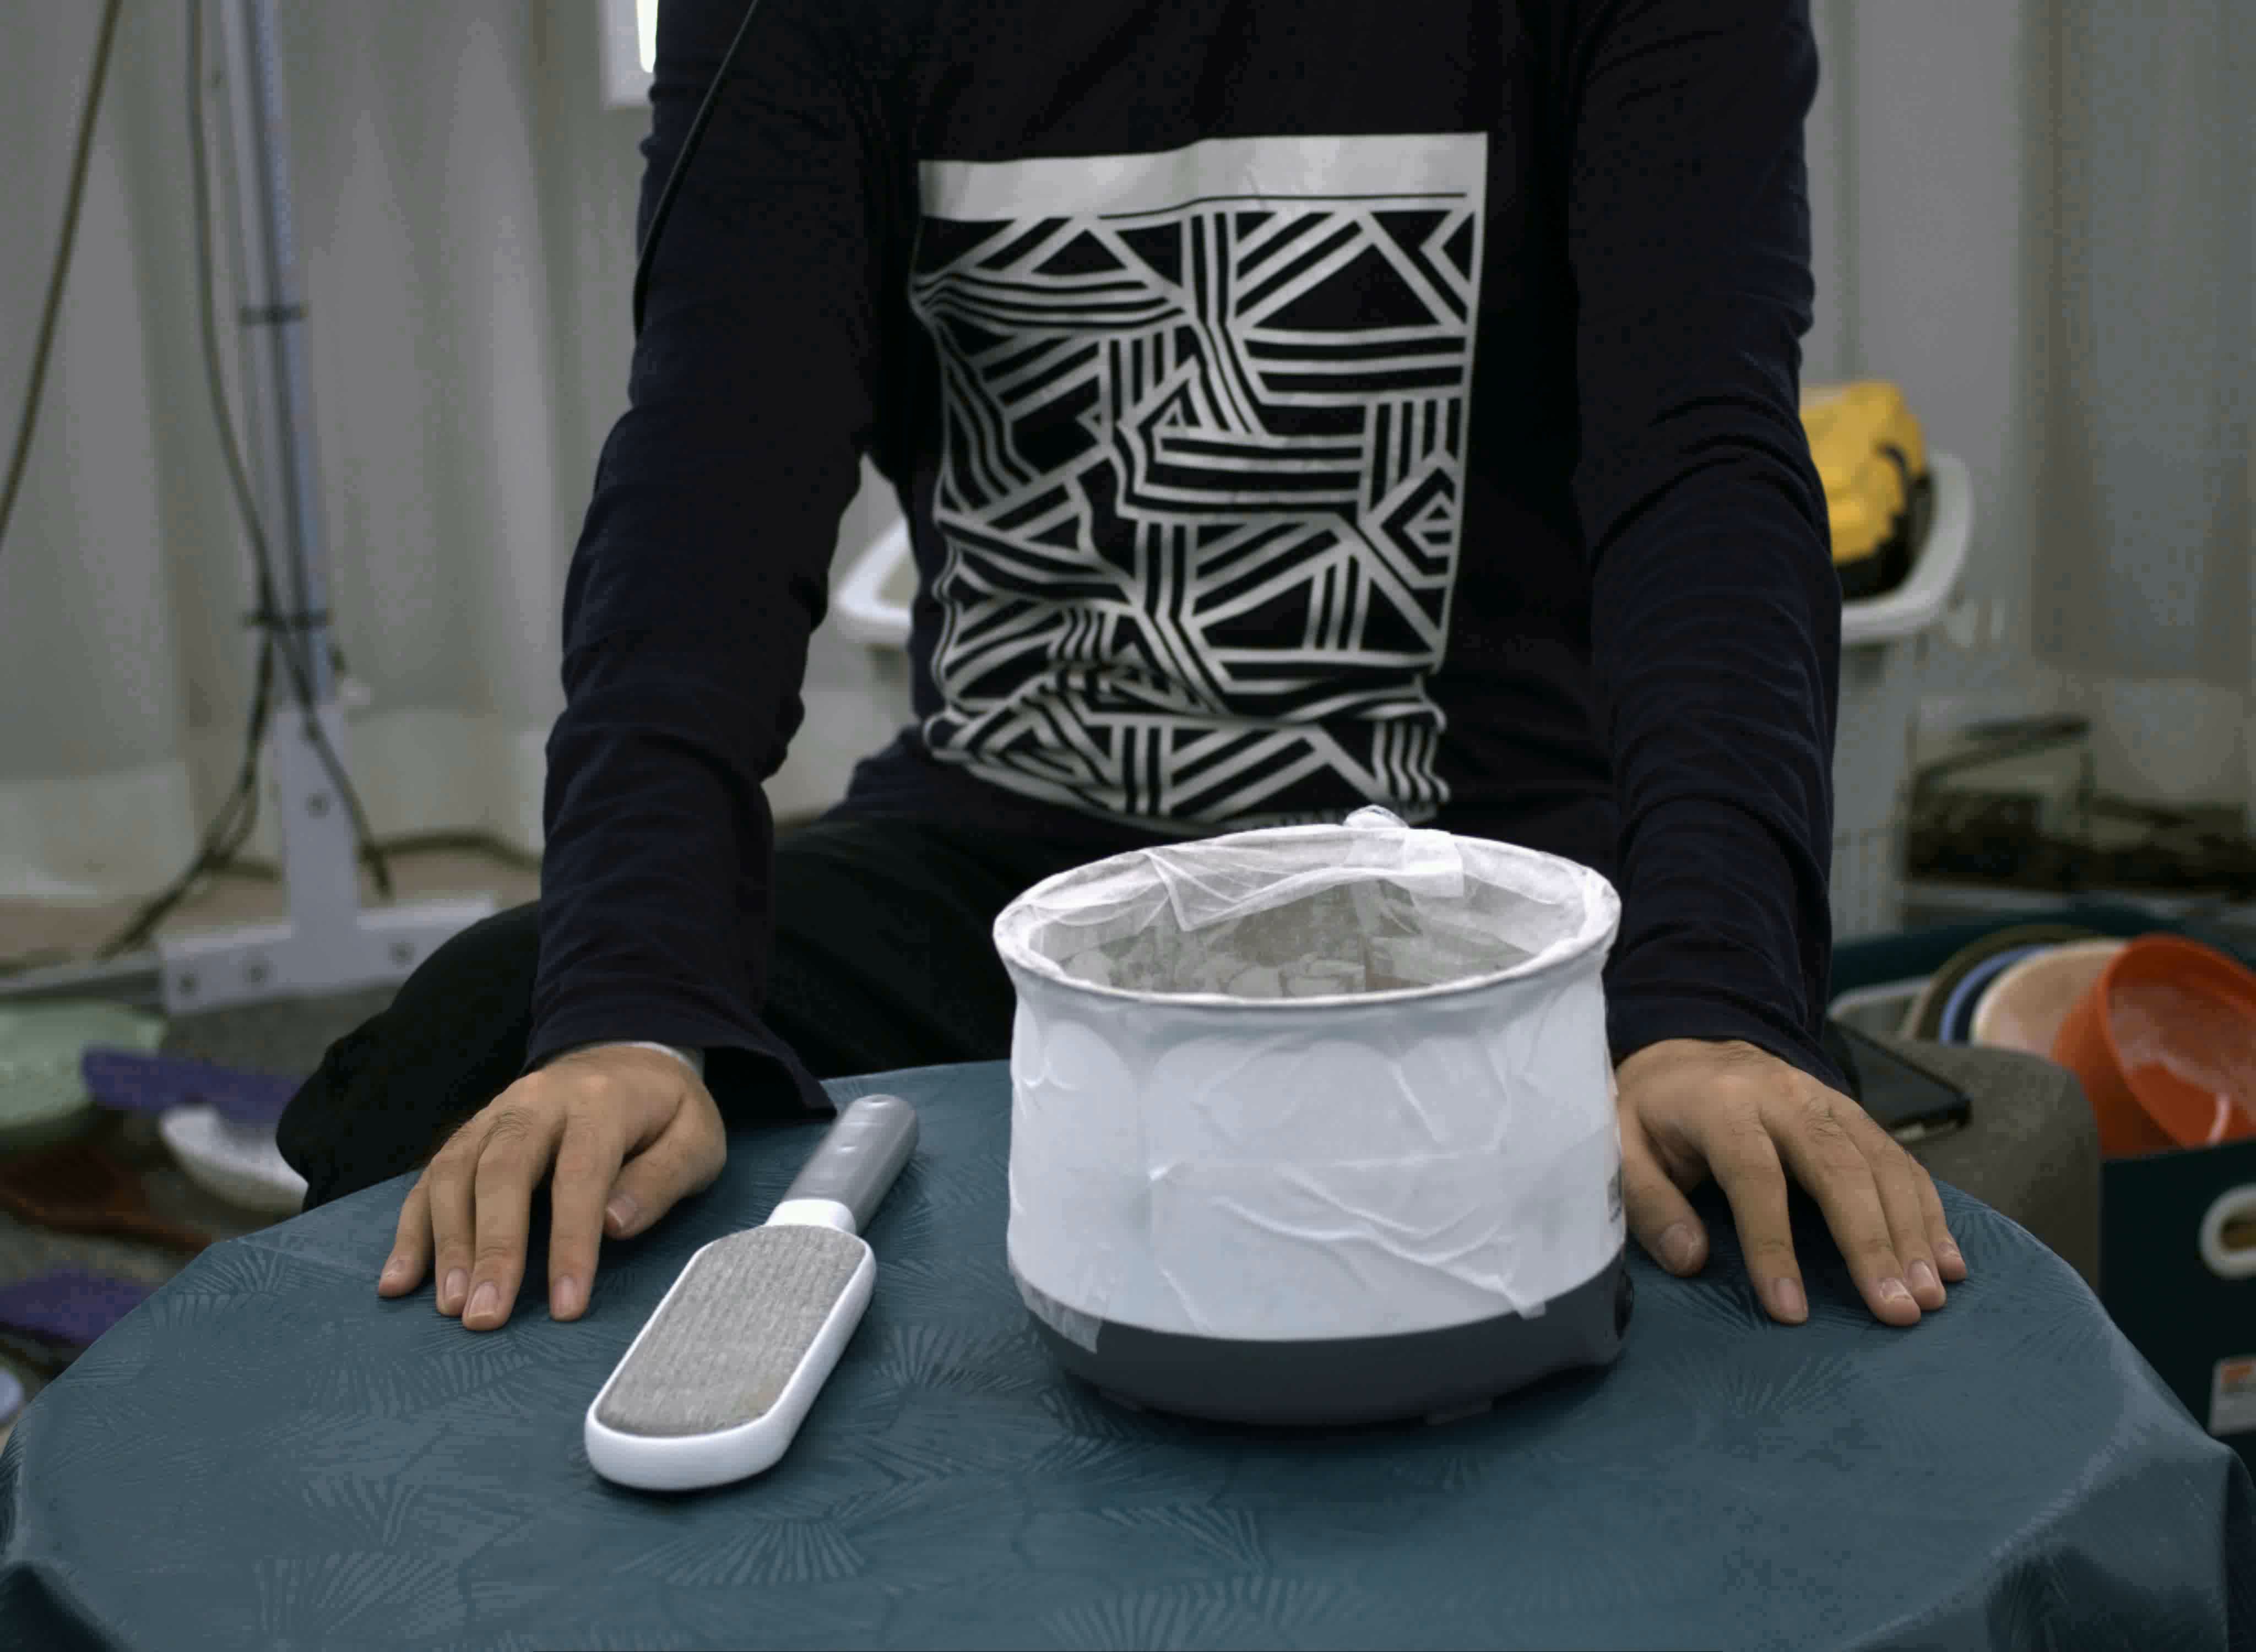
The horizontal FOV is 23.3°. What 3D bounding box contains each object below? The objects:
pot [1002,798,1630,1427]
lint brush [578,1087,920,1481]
[{"bbox_3d":[0.059,0.076,1.580,0.178,0.136,0.235,3,15,12],"label":"pot"},{"bbox_3d":[-0.101,0.131,1.622,0.060,0.021,0.310,-7,14,11],"label":"lint brush"}]
